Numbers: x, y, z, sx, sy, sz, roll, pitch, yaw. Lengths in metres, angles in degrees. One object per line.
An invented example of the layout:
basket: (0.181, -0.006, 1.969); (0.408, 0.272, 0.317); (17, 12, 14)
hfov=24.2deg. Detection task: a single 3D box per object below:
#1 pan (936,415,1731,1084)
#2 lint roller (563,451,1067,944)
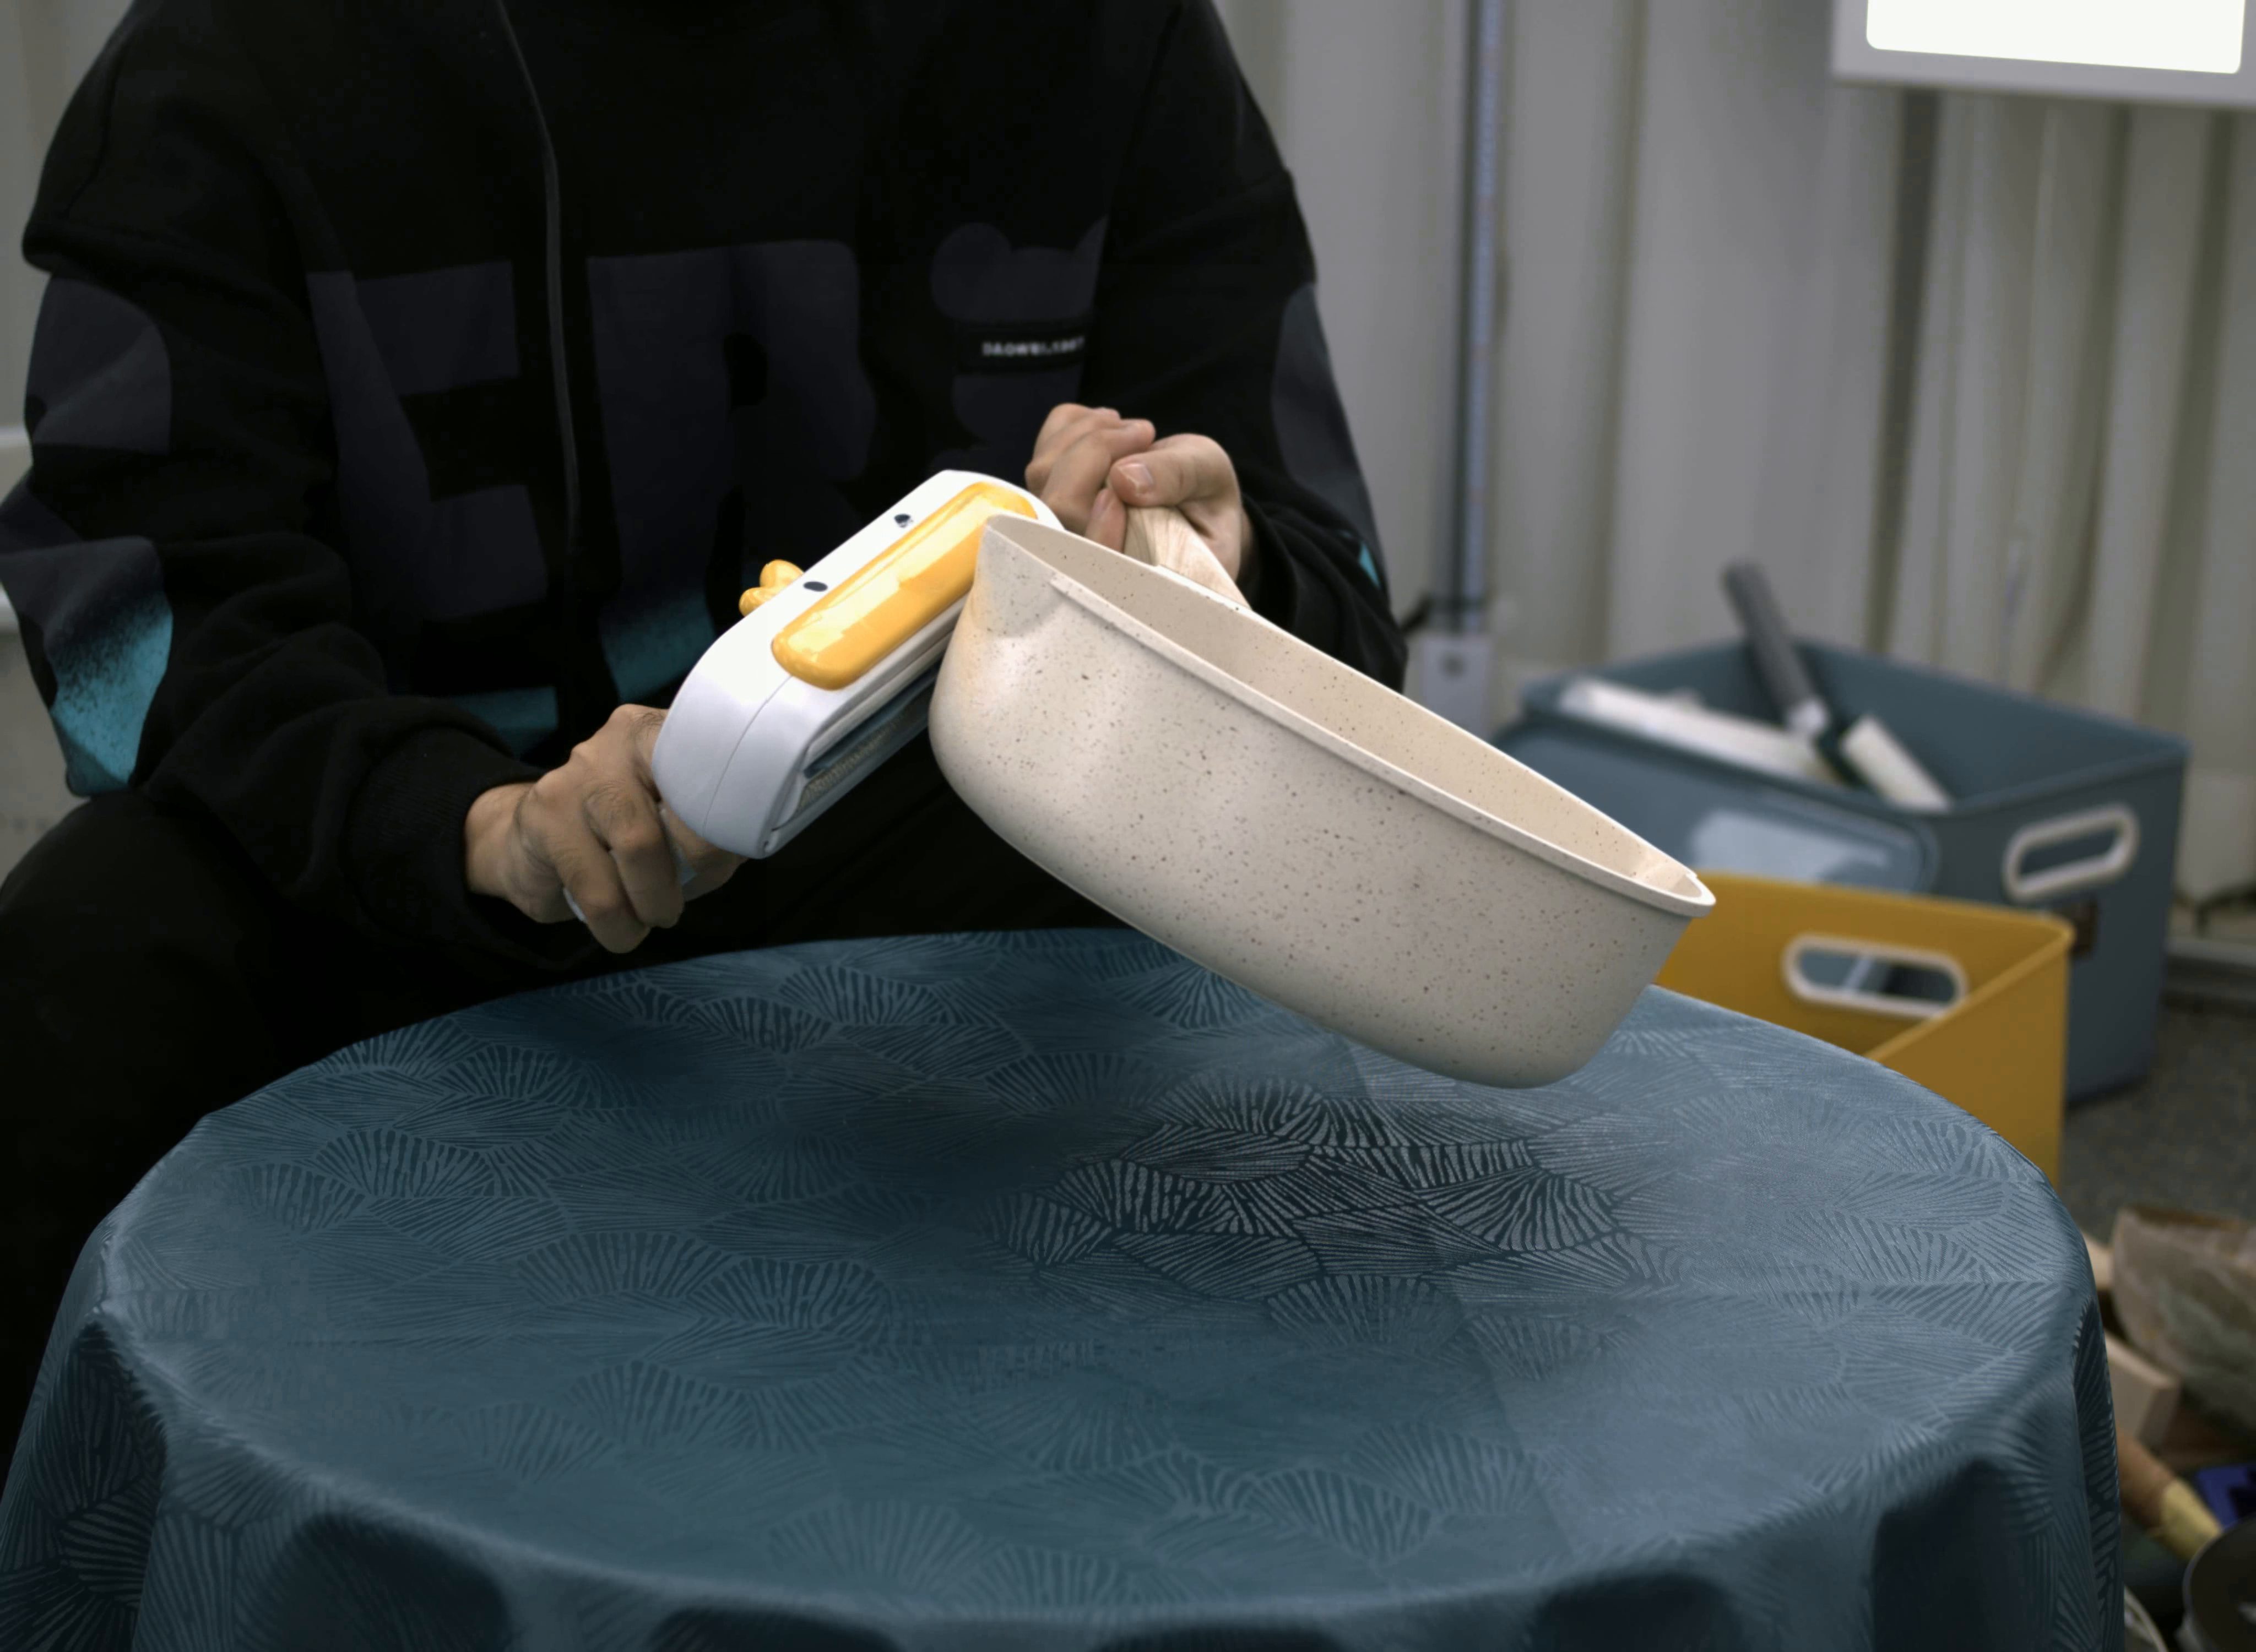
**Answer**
pan: (0.028, -0.035, 1.688); (0.265, 0.102, 0.430); (23, 9, -25)
lint roller: (-0.113, -0.023, 1.673); (0.074, 0.193, 0.192); (37, 33, 2)
